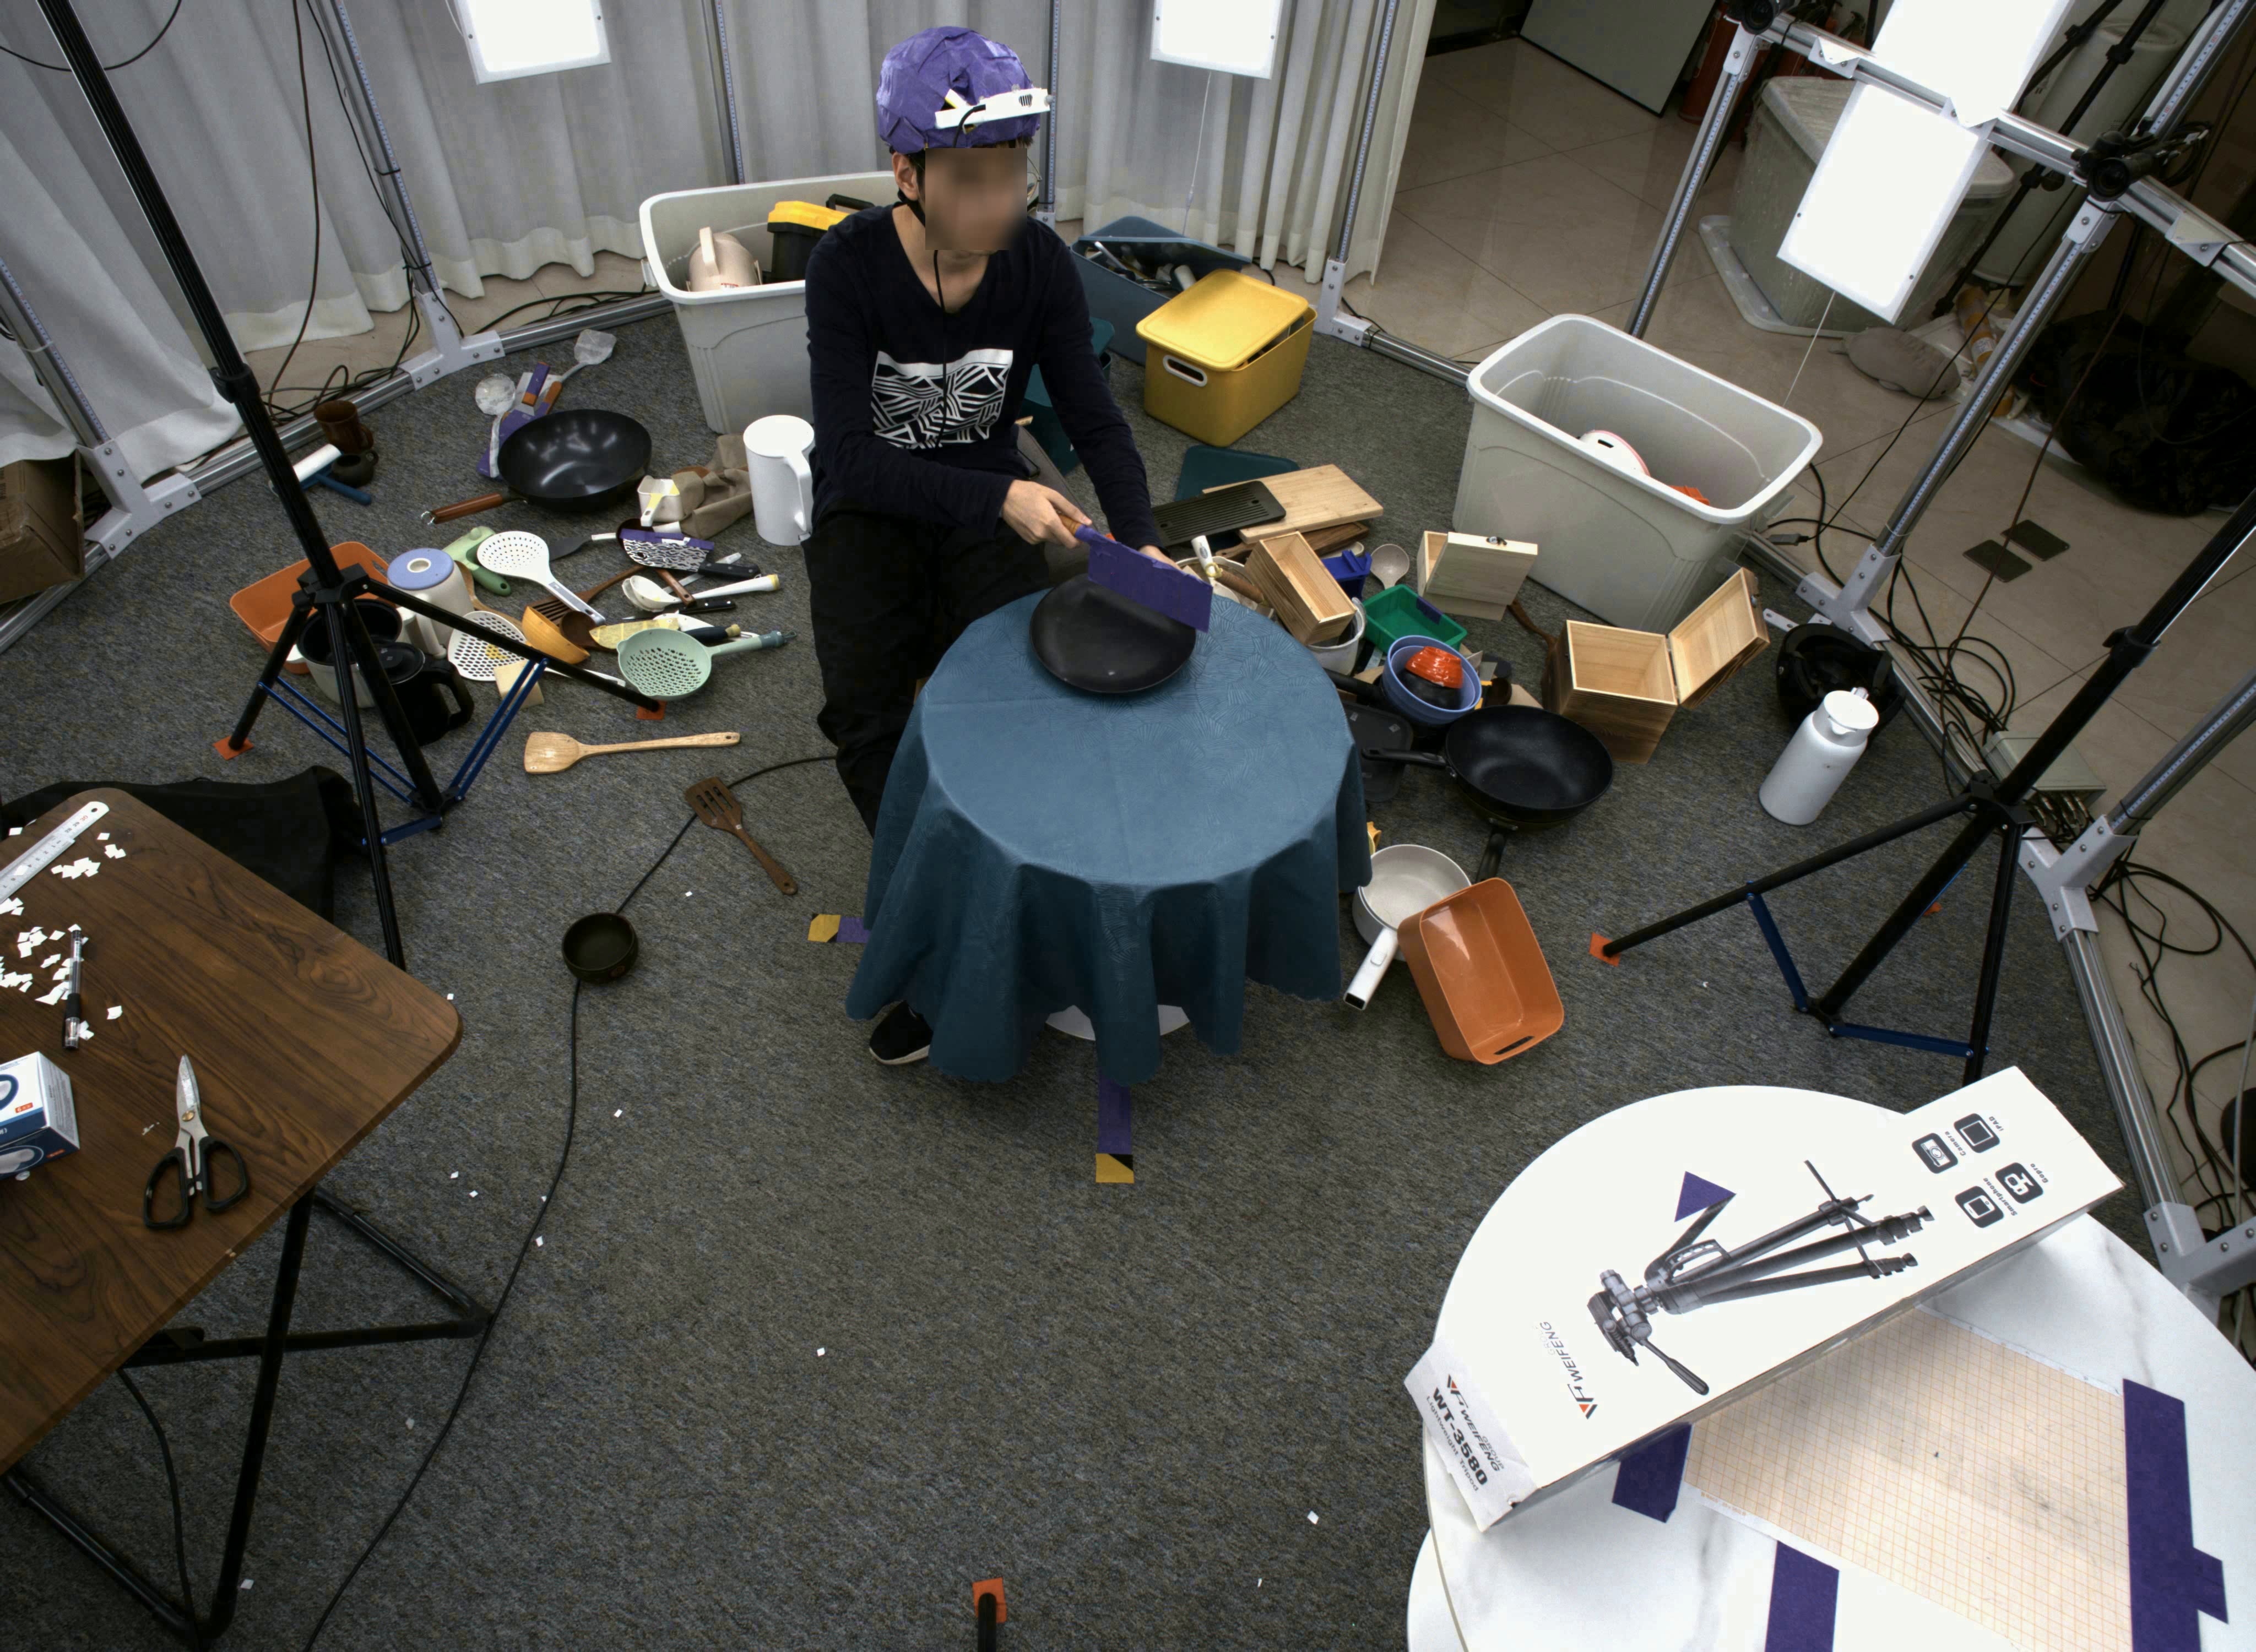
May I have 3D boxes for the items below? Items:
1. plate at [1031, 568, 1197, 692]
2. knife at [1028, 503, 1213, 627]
[{"bbox_3d":[-0.020,-0.287,1.884,0.244,0.023,0.250,-2,55,2],"label":"plate"},{"bbox_3d":[-0.013,-0.375,1.876,0.318,0.101,0.032,29,53,22],"label":"knife"}]
